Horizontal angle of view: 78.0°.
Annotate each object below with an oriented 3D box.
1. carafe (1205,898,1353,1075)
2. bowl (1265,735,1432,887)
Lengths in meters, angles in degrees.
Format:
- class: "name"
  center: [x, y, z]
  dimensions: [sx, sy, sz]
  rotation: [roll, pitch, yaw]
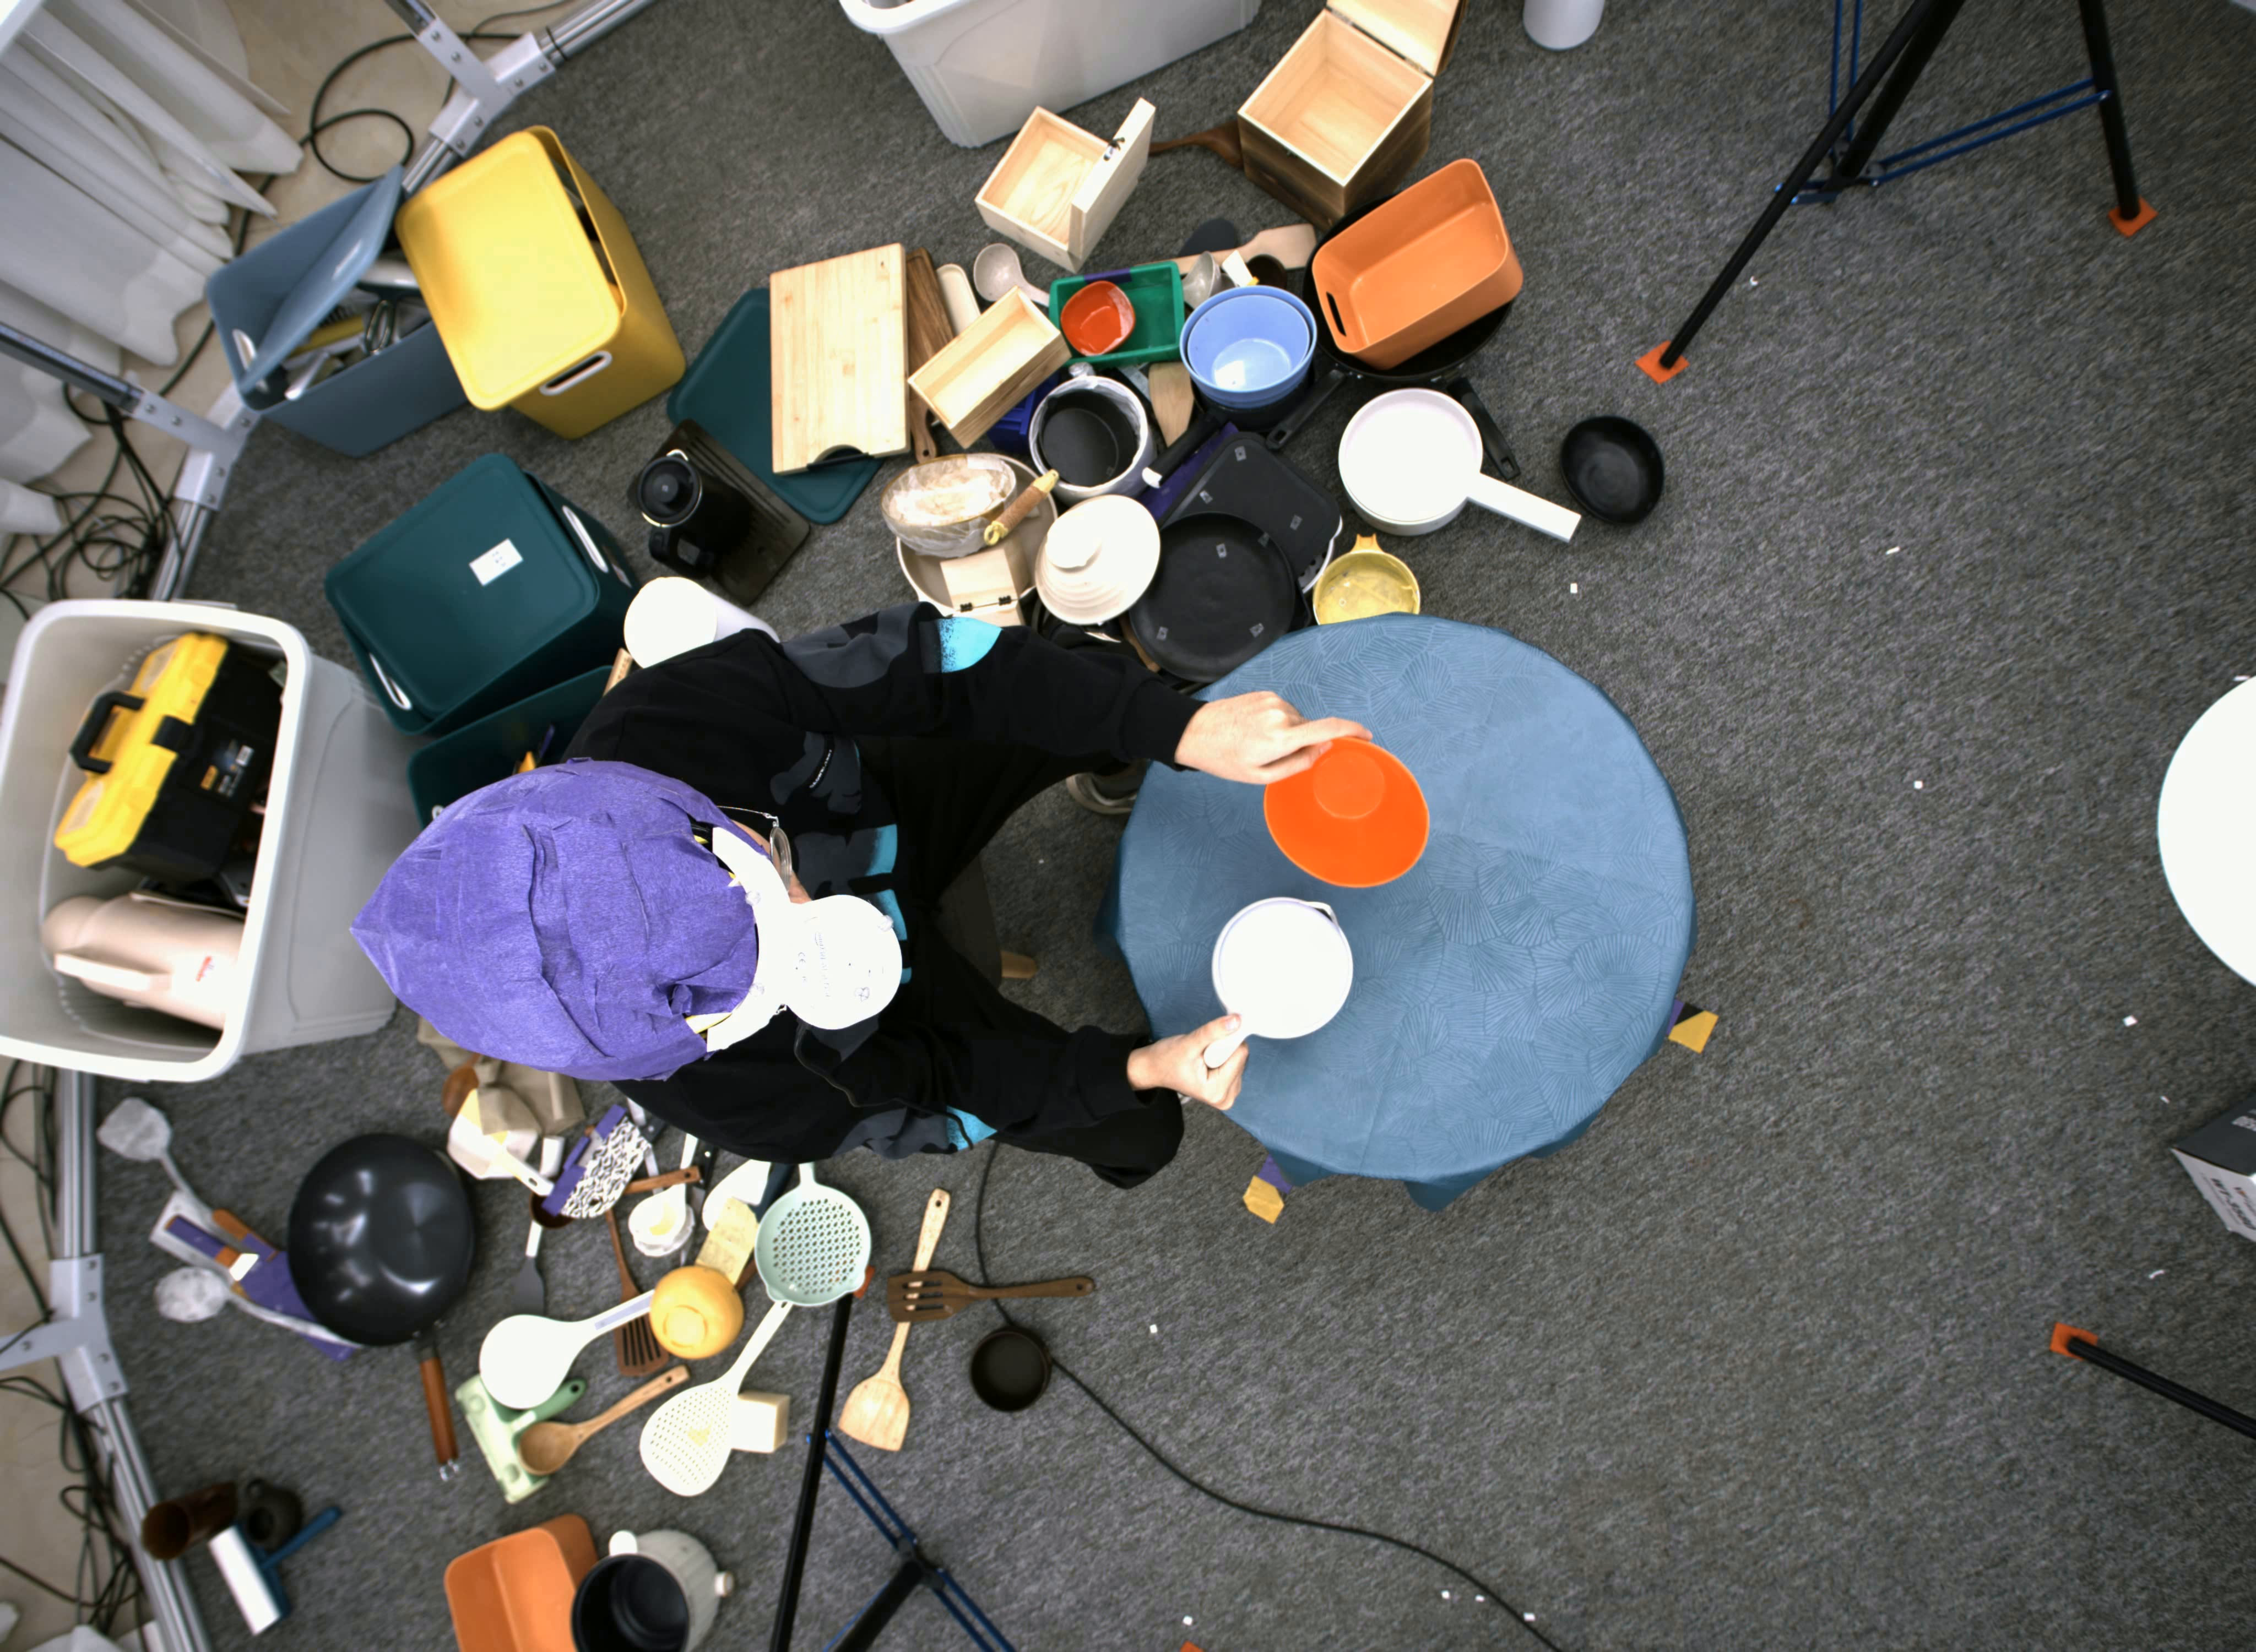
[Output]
- class: "carafe"
  center: [0.131, 0.157, 1.331]
  dimensions: [0.132, 0.183, 0.191]
  rotation: [35, 89, 7]
- class: "bowl"
  center: [0.202, -0.027, 1.234]
  dimensions: [0.148, 0.102, 0.151]
  rotation: [7, 116, 15]
